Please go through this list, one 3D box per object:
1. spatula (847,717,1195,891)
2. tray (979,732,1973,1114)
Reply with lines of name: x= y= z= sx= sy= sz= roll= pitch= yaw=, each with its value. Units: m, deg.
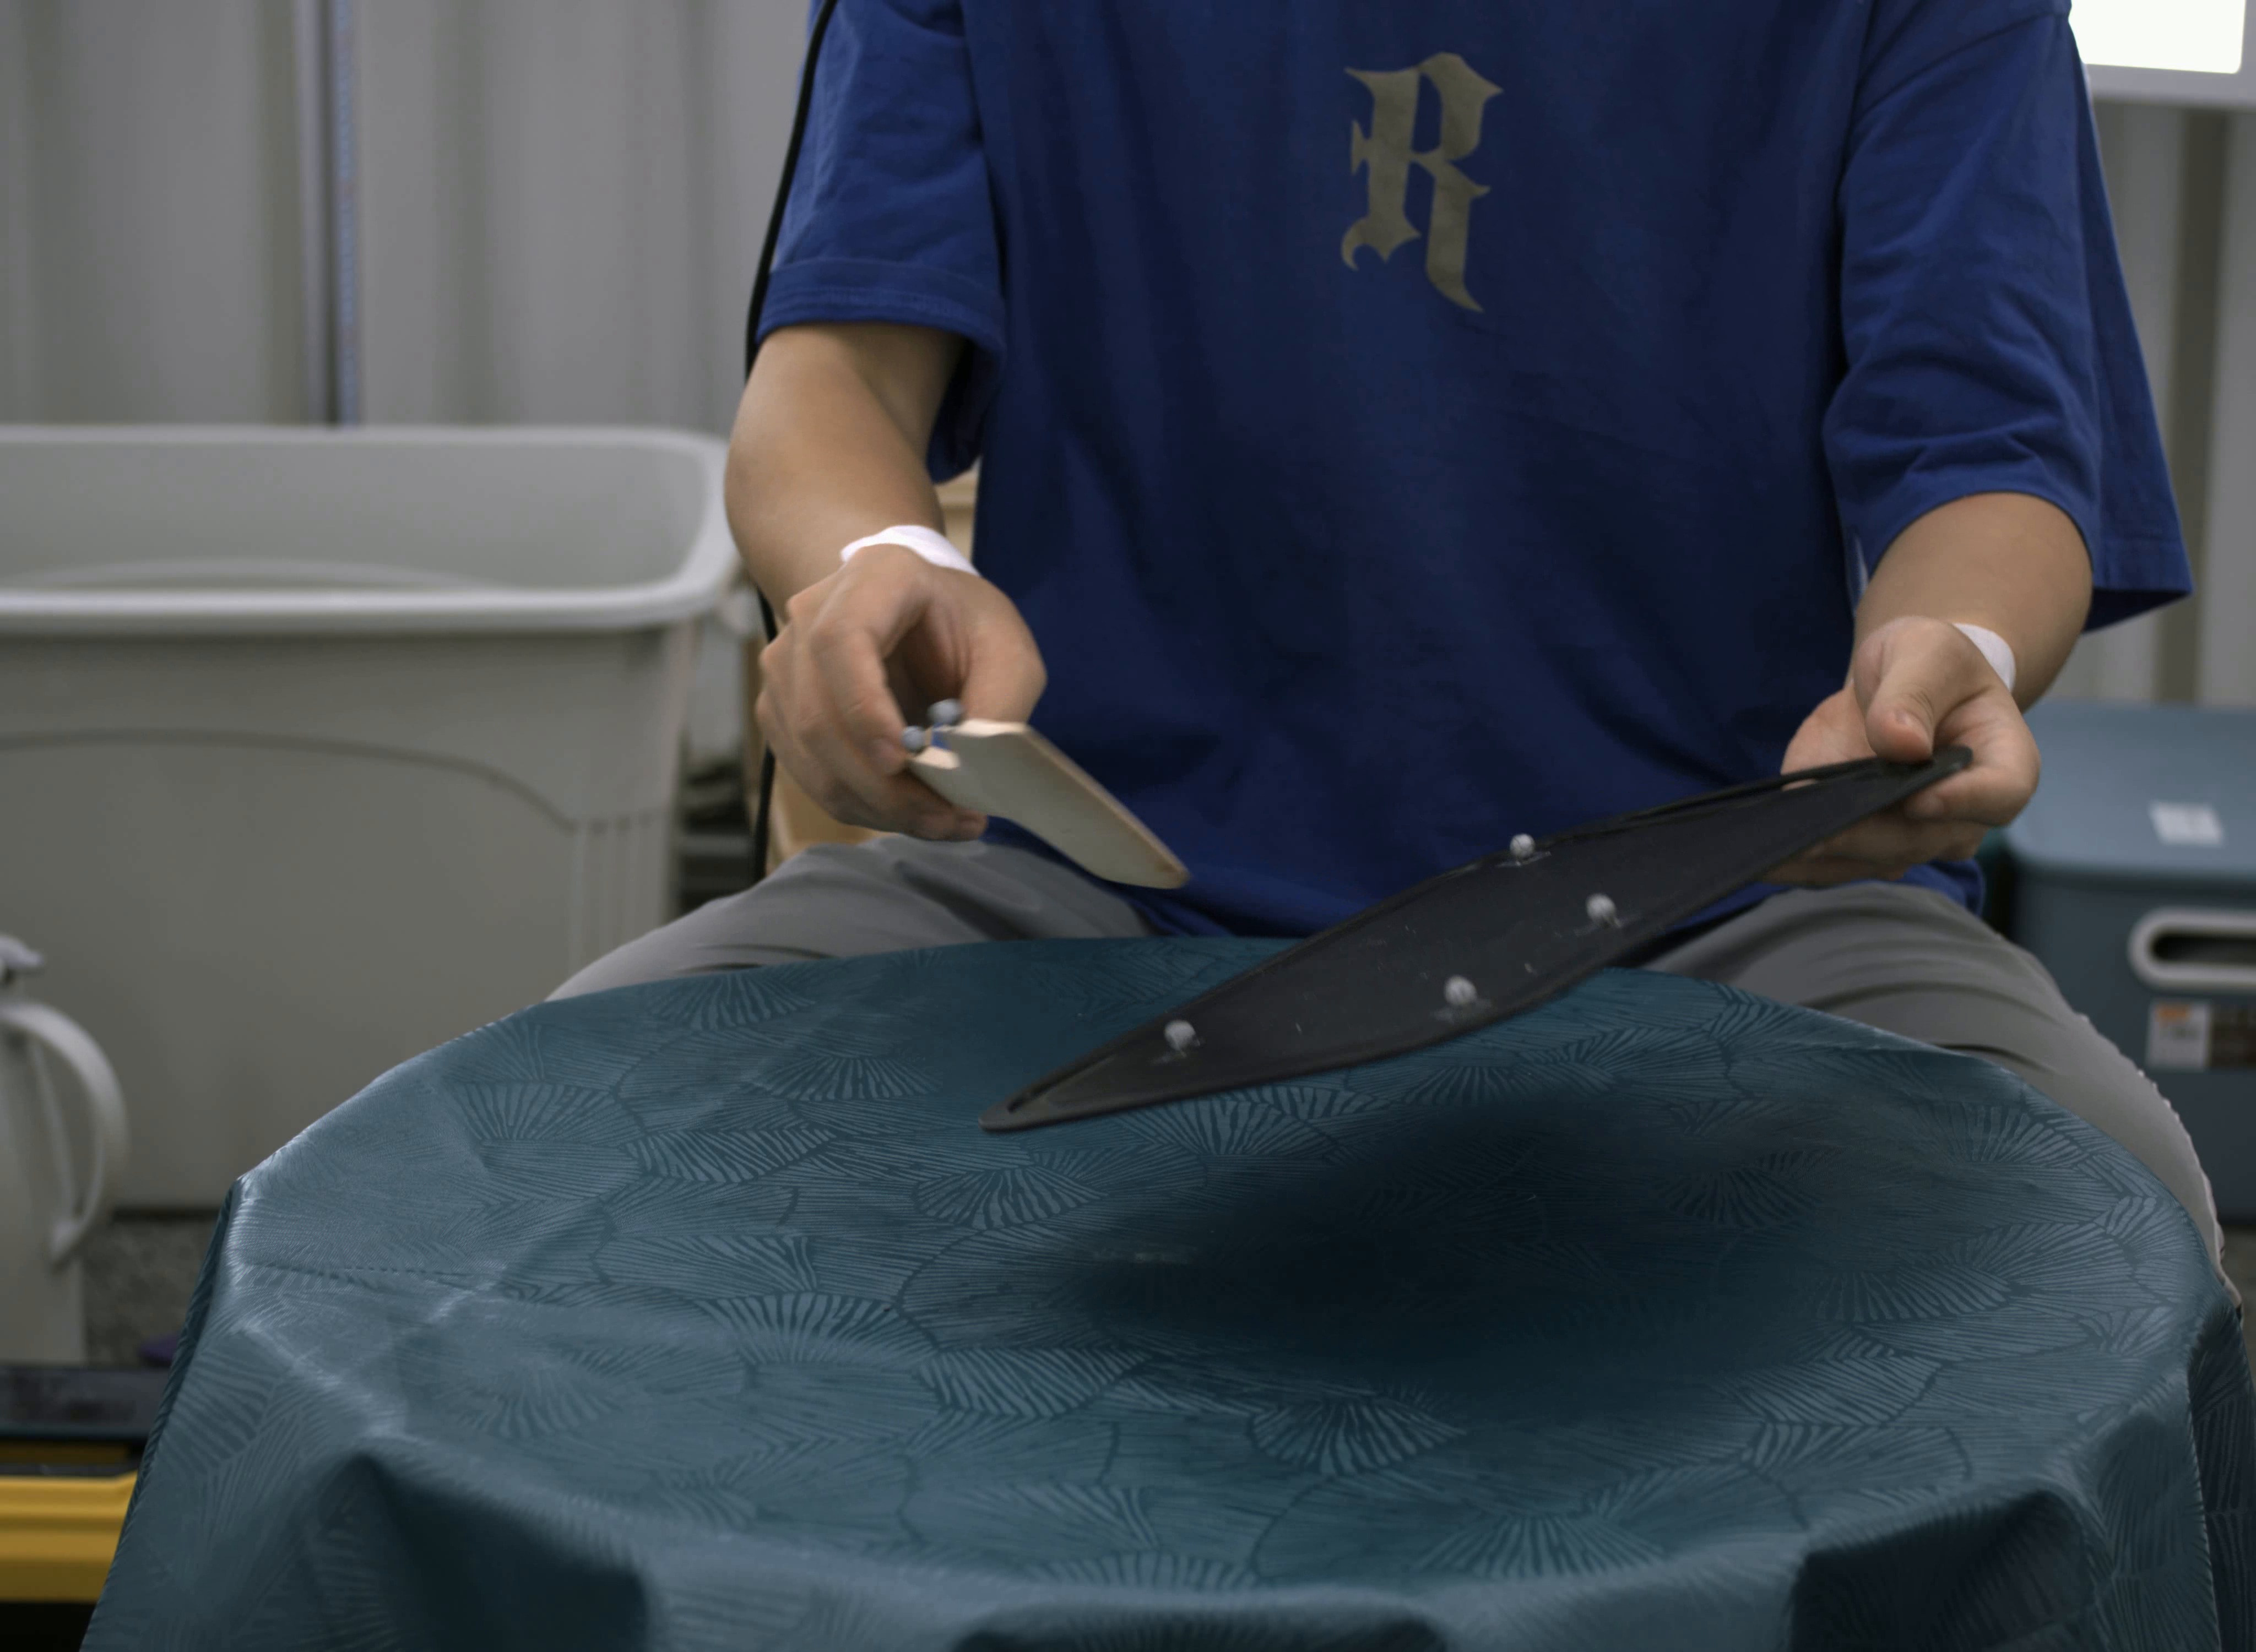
spatula: x=-0.047 y=-0.015 z=1.637 sx=0.073 sy=0.010 sz=0.291 roll=43 pitch=-8 yaw=-15
tray: x=0.111 y=0.025 z=1.576 sx=0.209 sy=0.010 sz=0.326 roll=-14 pitch=7 yaw=42
